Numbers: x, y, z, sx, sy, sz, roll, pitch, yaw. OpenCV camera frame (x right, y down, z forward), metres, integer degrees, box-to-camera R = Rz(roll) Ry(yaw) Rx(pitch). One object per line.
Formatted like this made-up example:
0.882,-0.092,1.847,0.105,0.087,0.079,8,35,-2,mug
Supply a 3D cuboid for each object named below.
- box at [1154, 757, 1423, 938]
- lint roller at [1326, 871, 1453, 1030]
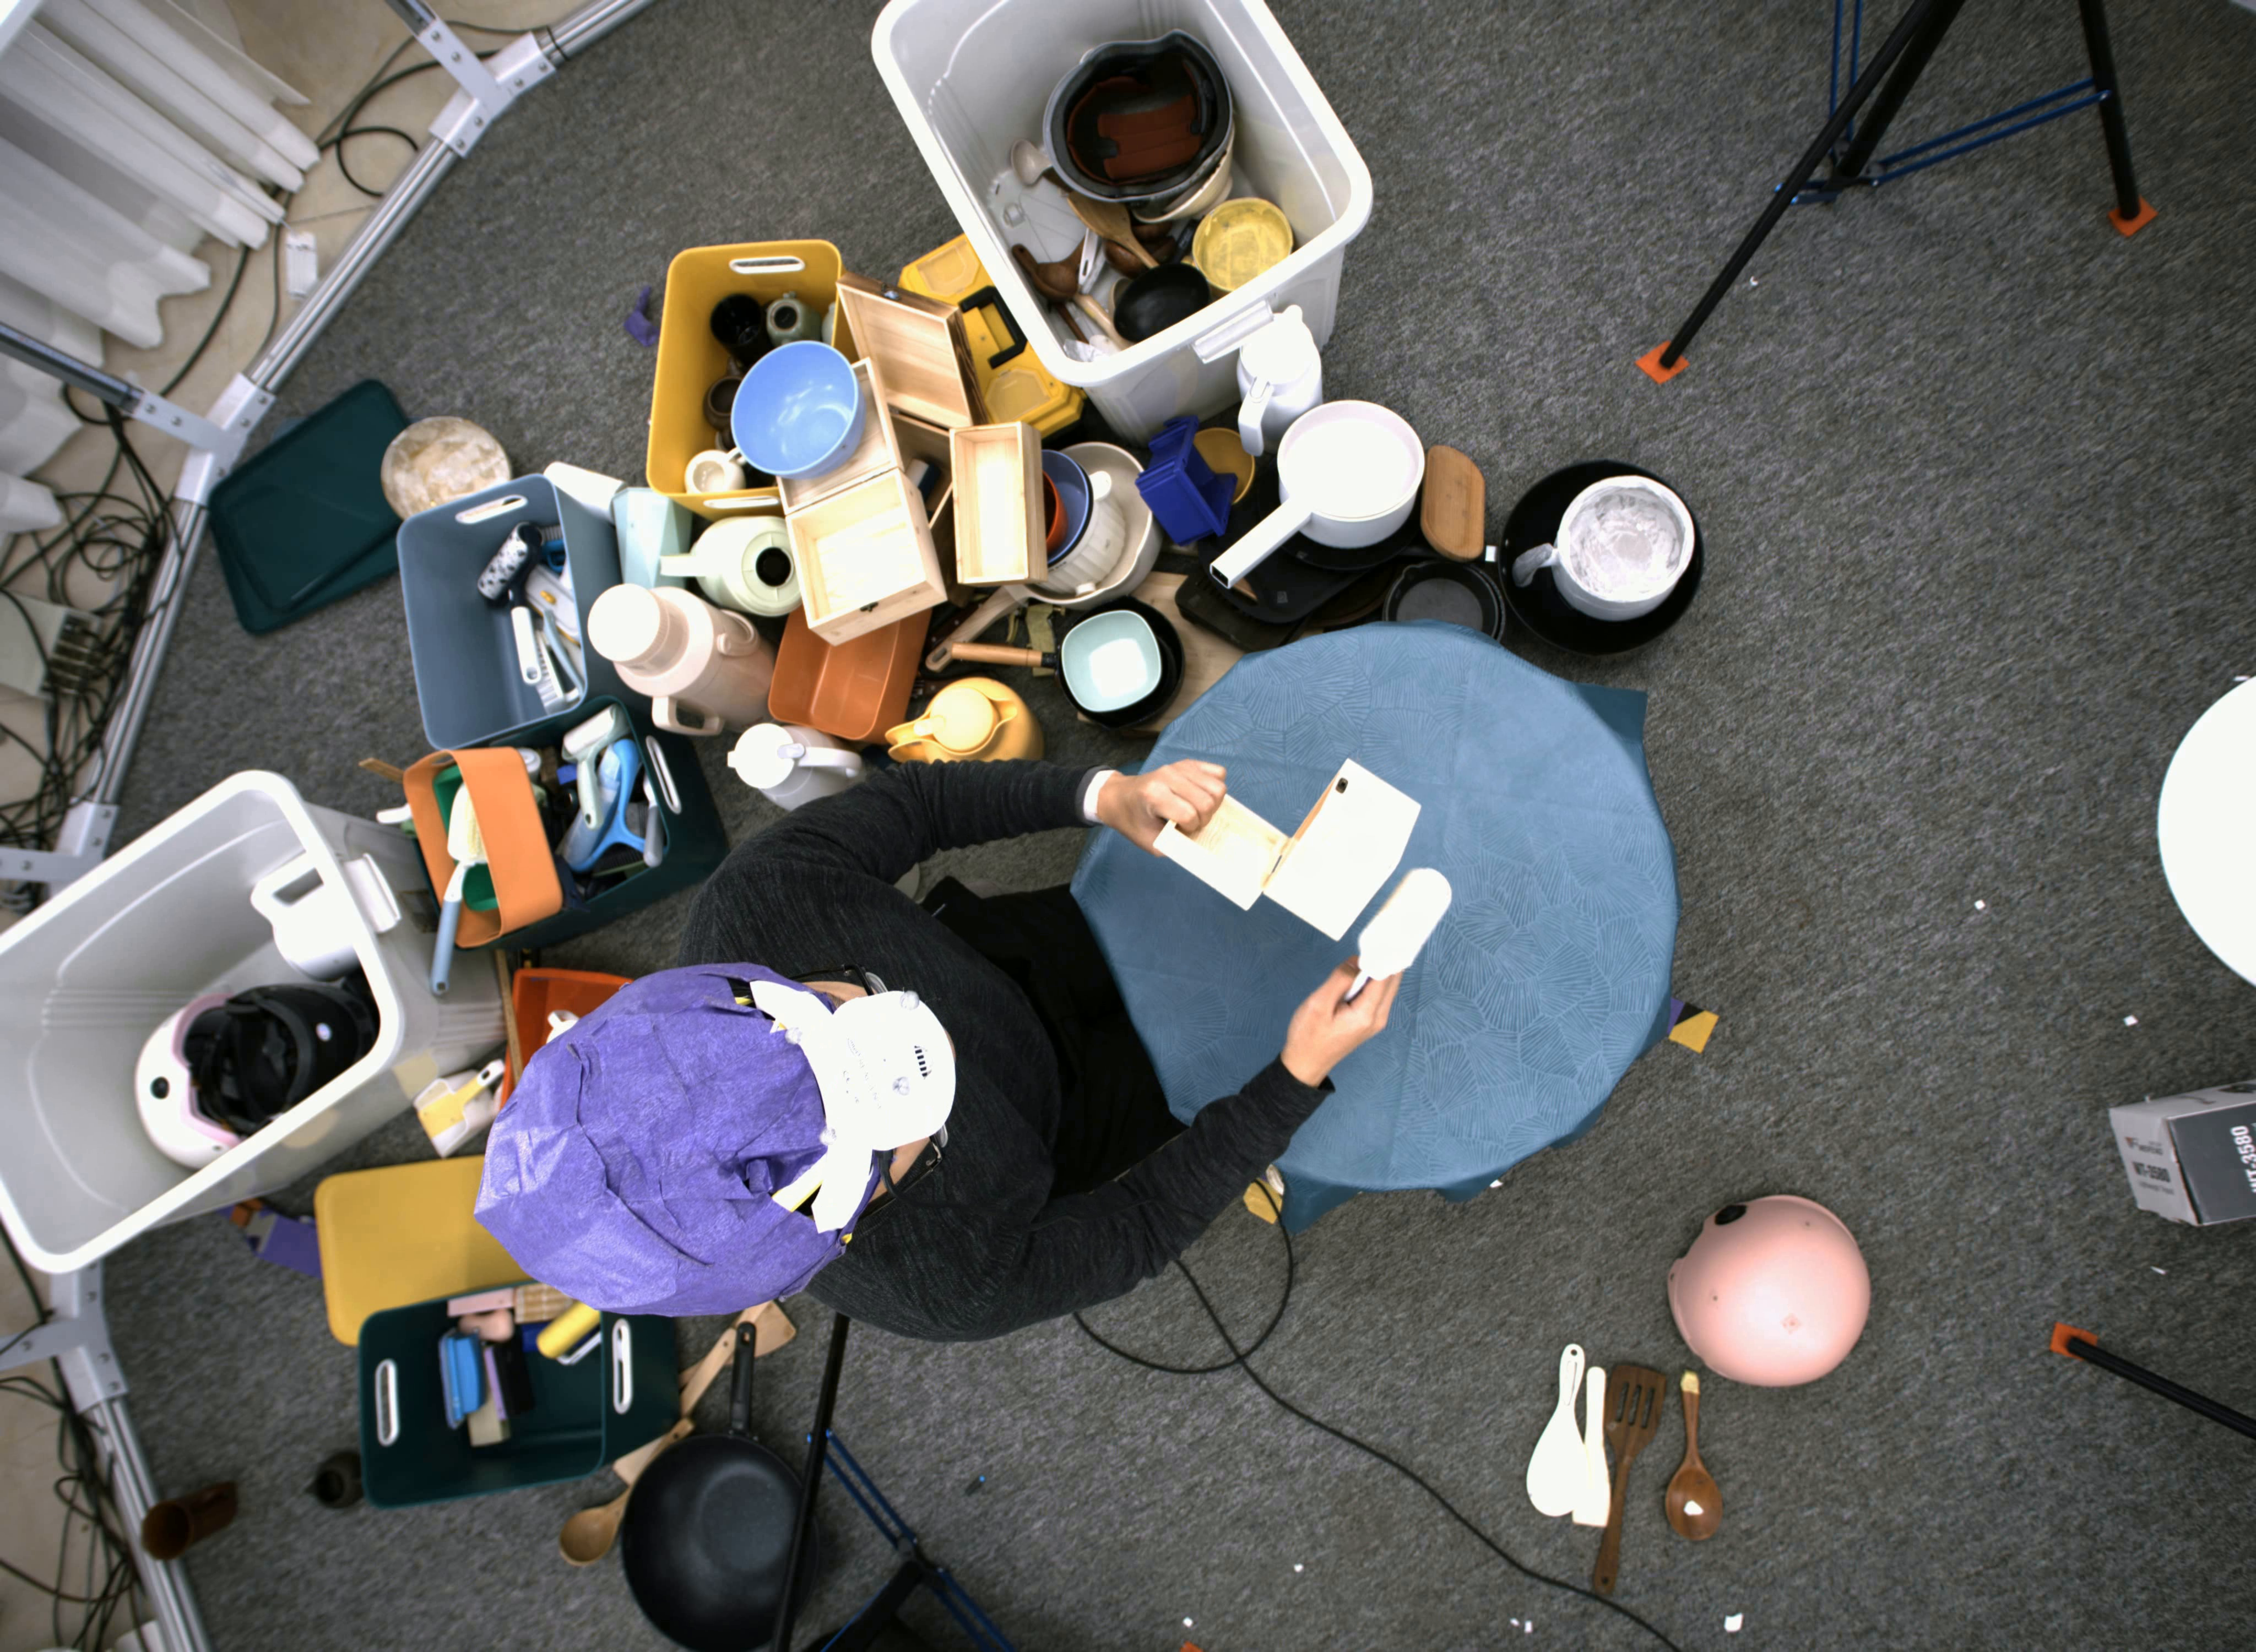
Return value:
0.140,-0.005,1.204,0.184,0.100,0.137,33,127,3,box
0.227,0.131,1.242,0.050,0.130,0.185,30,131,14,lint roller
